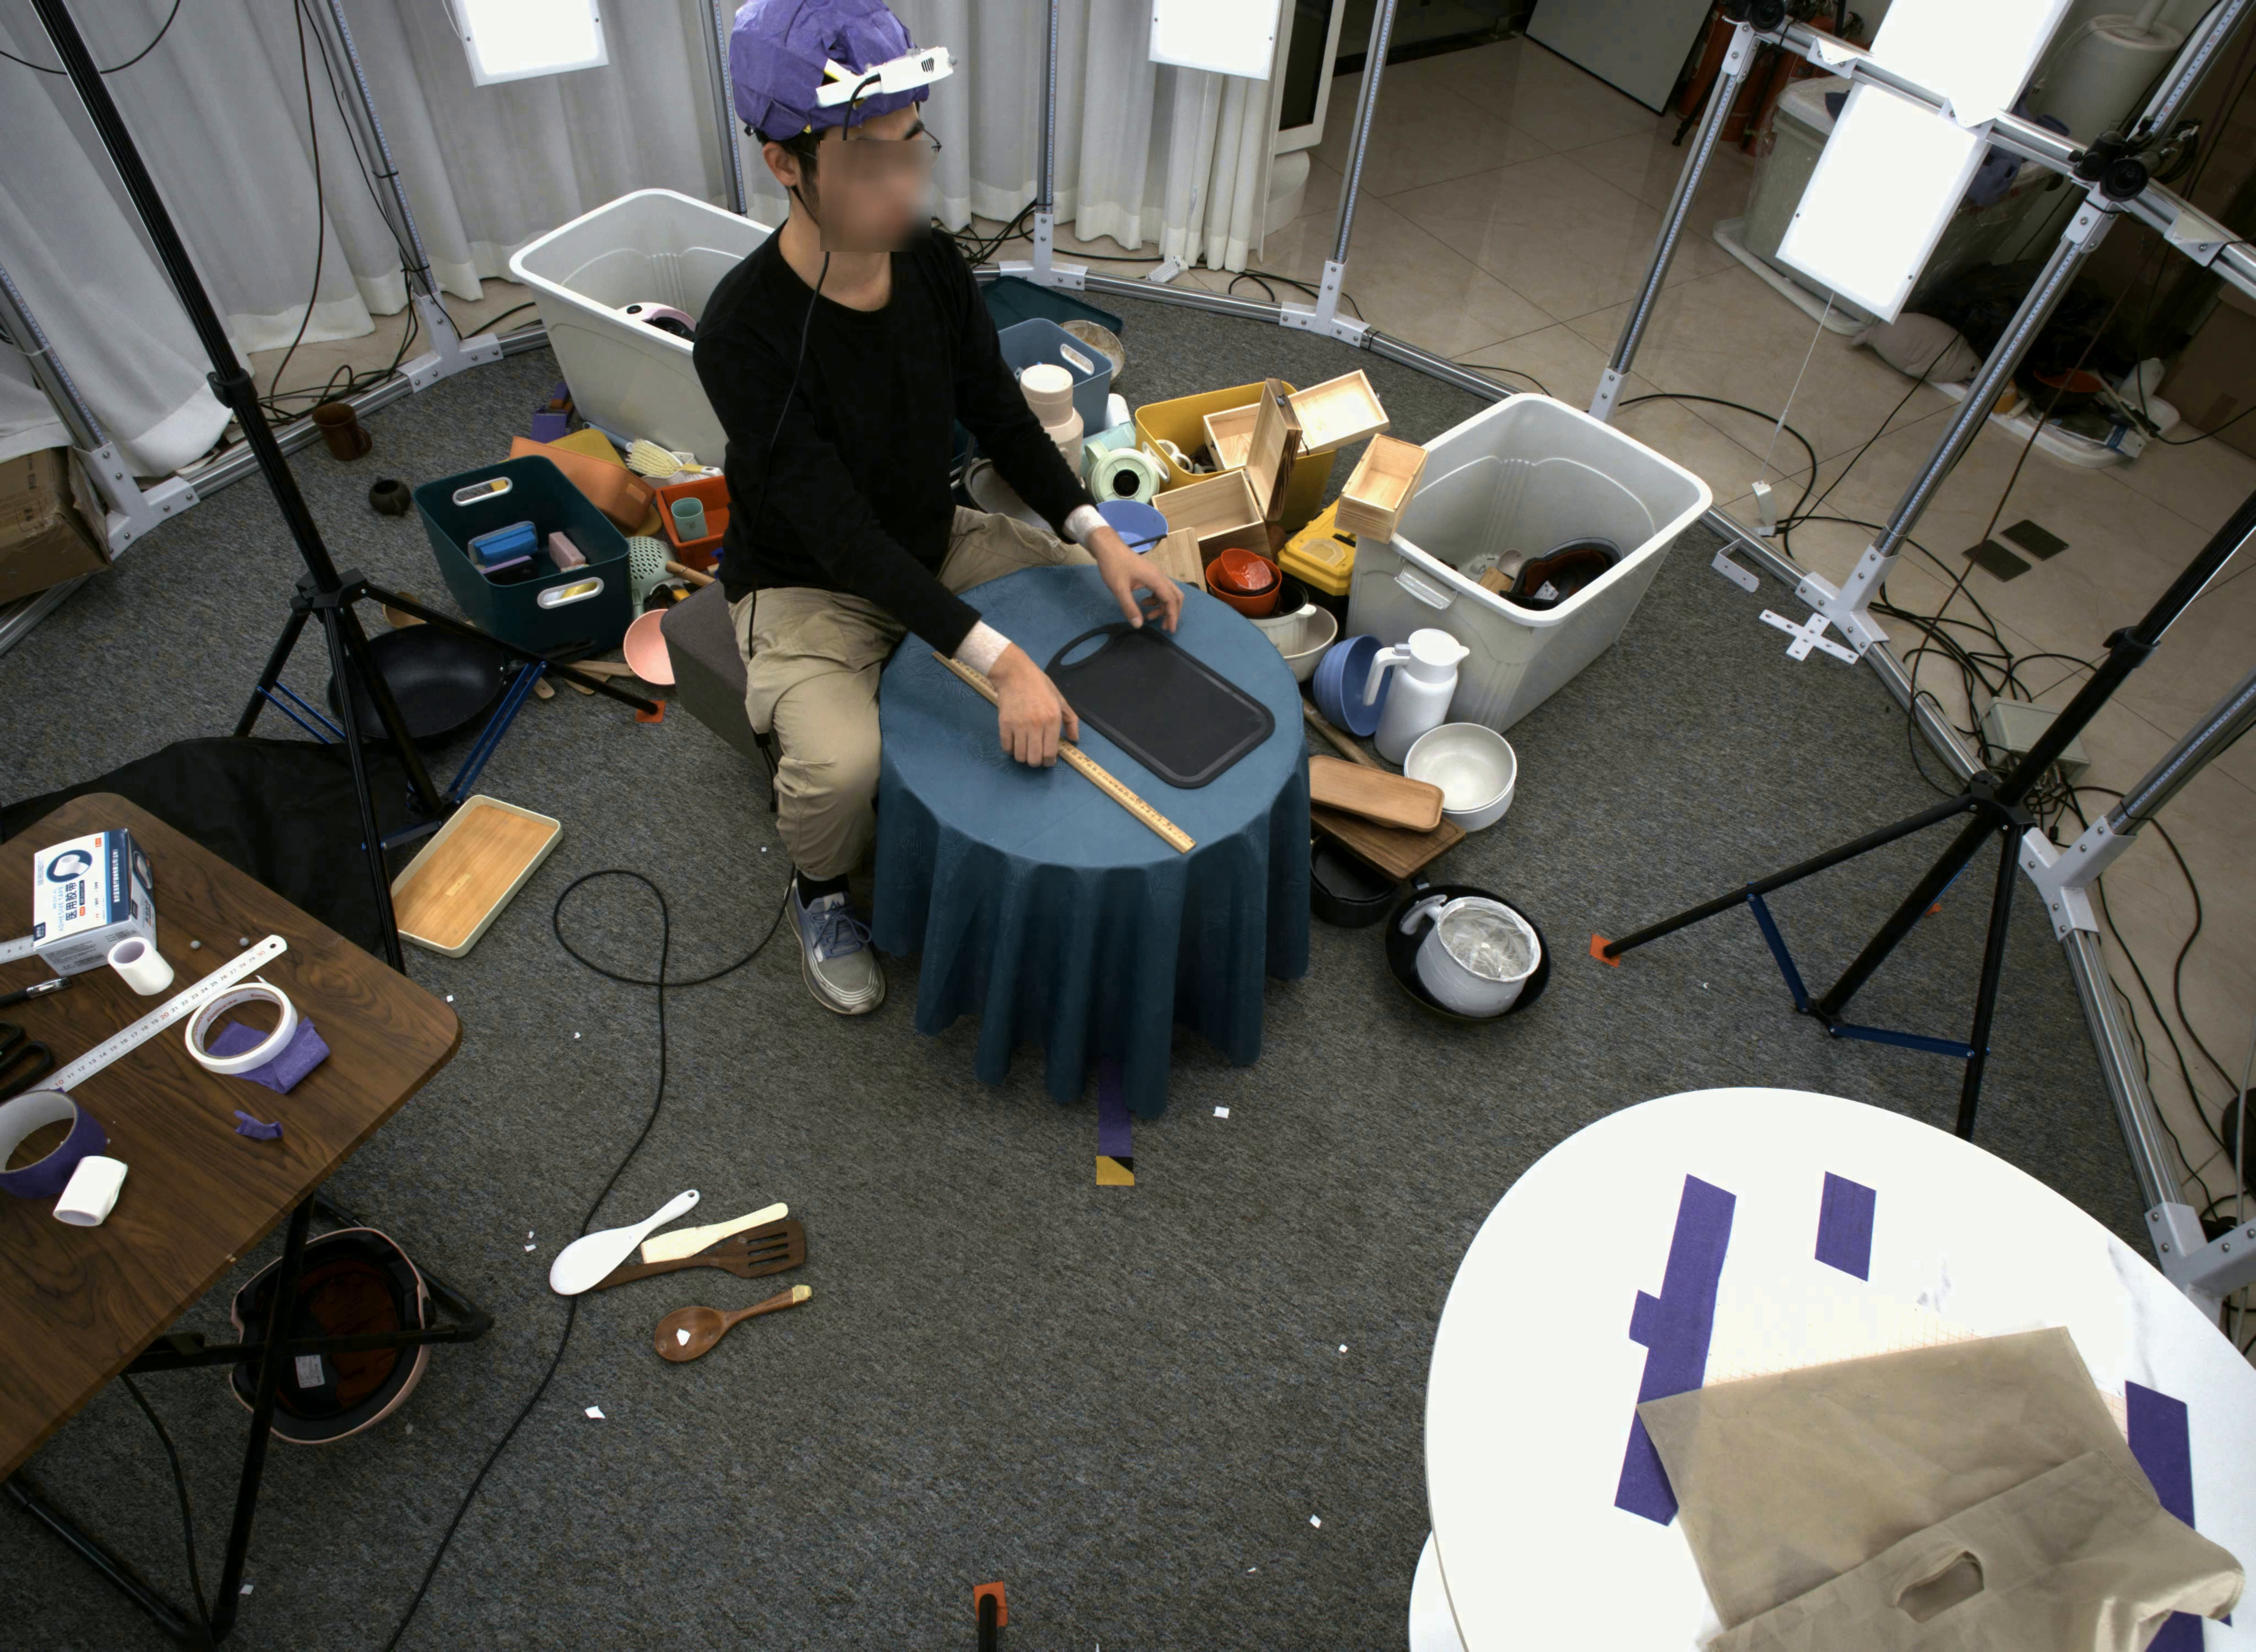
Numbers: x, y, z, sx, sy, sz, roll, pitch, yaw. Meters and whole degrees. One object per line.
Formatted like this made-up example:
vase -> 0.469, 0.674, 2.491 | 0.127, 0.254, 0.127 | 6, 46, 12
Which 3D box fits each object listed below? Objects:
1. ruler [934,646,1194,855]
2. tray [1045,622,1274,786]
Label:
ruler -> -0.096, -0.113, 1.758 | 0.027, 0.006, 0.508 | -32, 58, -32
tray -> 0.037, -0.185, 1.828 | 0.213, 0.009, 0.330 | -35, 60, -29
